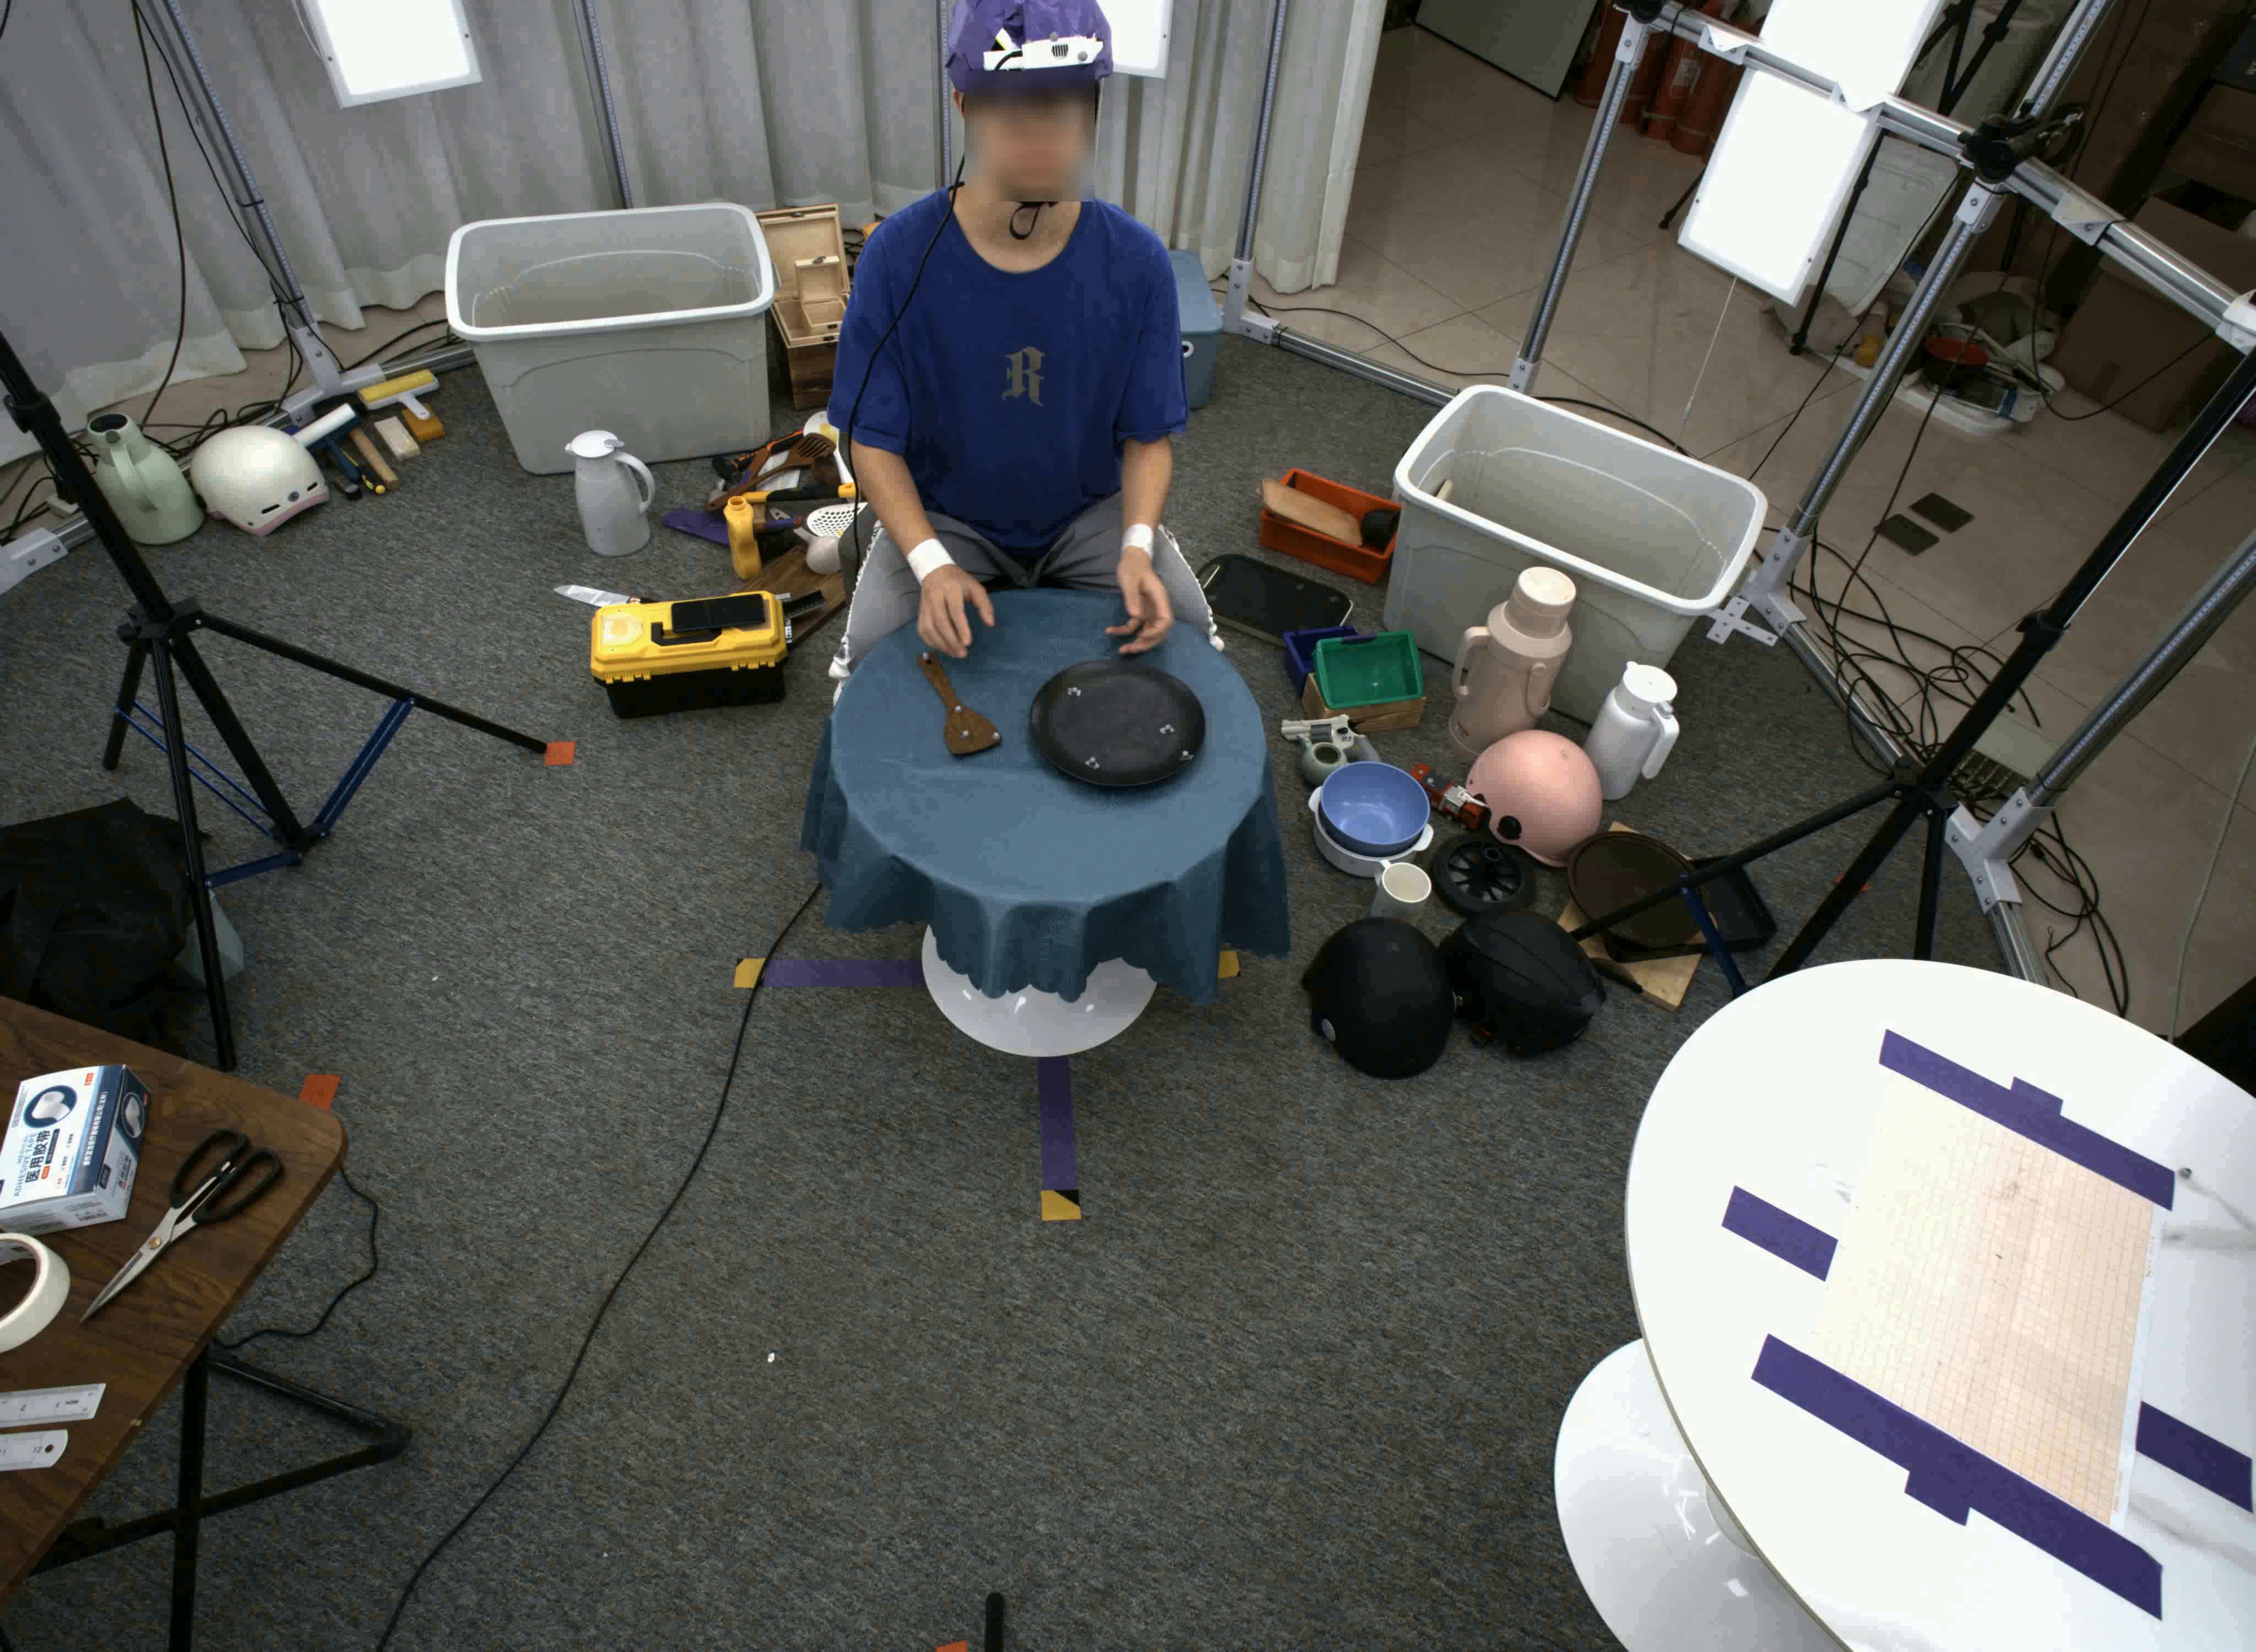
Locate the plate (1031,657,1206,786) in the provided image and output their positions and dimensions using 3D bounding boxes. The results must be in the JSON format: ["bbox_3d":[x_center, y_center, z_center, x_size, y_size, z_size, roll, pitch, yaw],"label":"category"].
[{"bbox_3d":[-0.014,-0.143,1.781,0.244,0.023,0.250,2,50,-2],"label":"plate"}]

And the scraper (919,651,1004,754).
[{"bbox_3d":[-0.245,-0.177,1.804,0.076,0.010,0.216,-18,52,-19],"label":"scraper"}]
